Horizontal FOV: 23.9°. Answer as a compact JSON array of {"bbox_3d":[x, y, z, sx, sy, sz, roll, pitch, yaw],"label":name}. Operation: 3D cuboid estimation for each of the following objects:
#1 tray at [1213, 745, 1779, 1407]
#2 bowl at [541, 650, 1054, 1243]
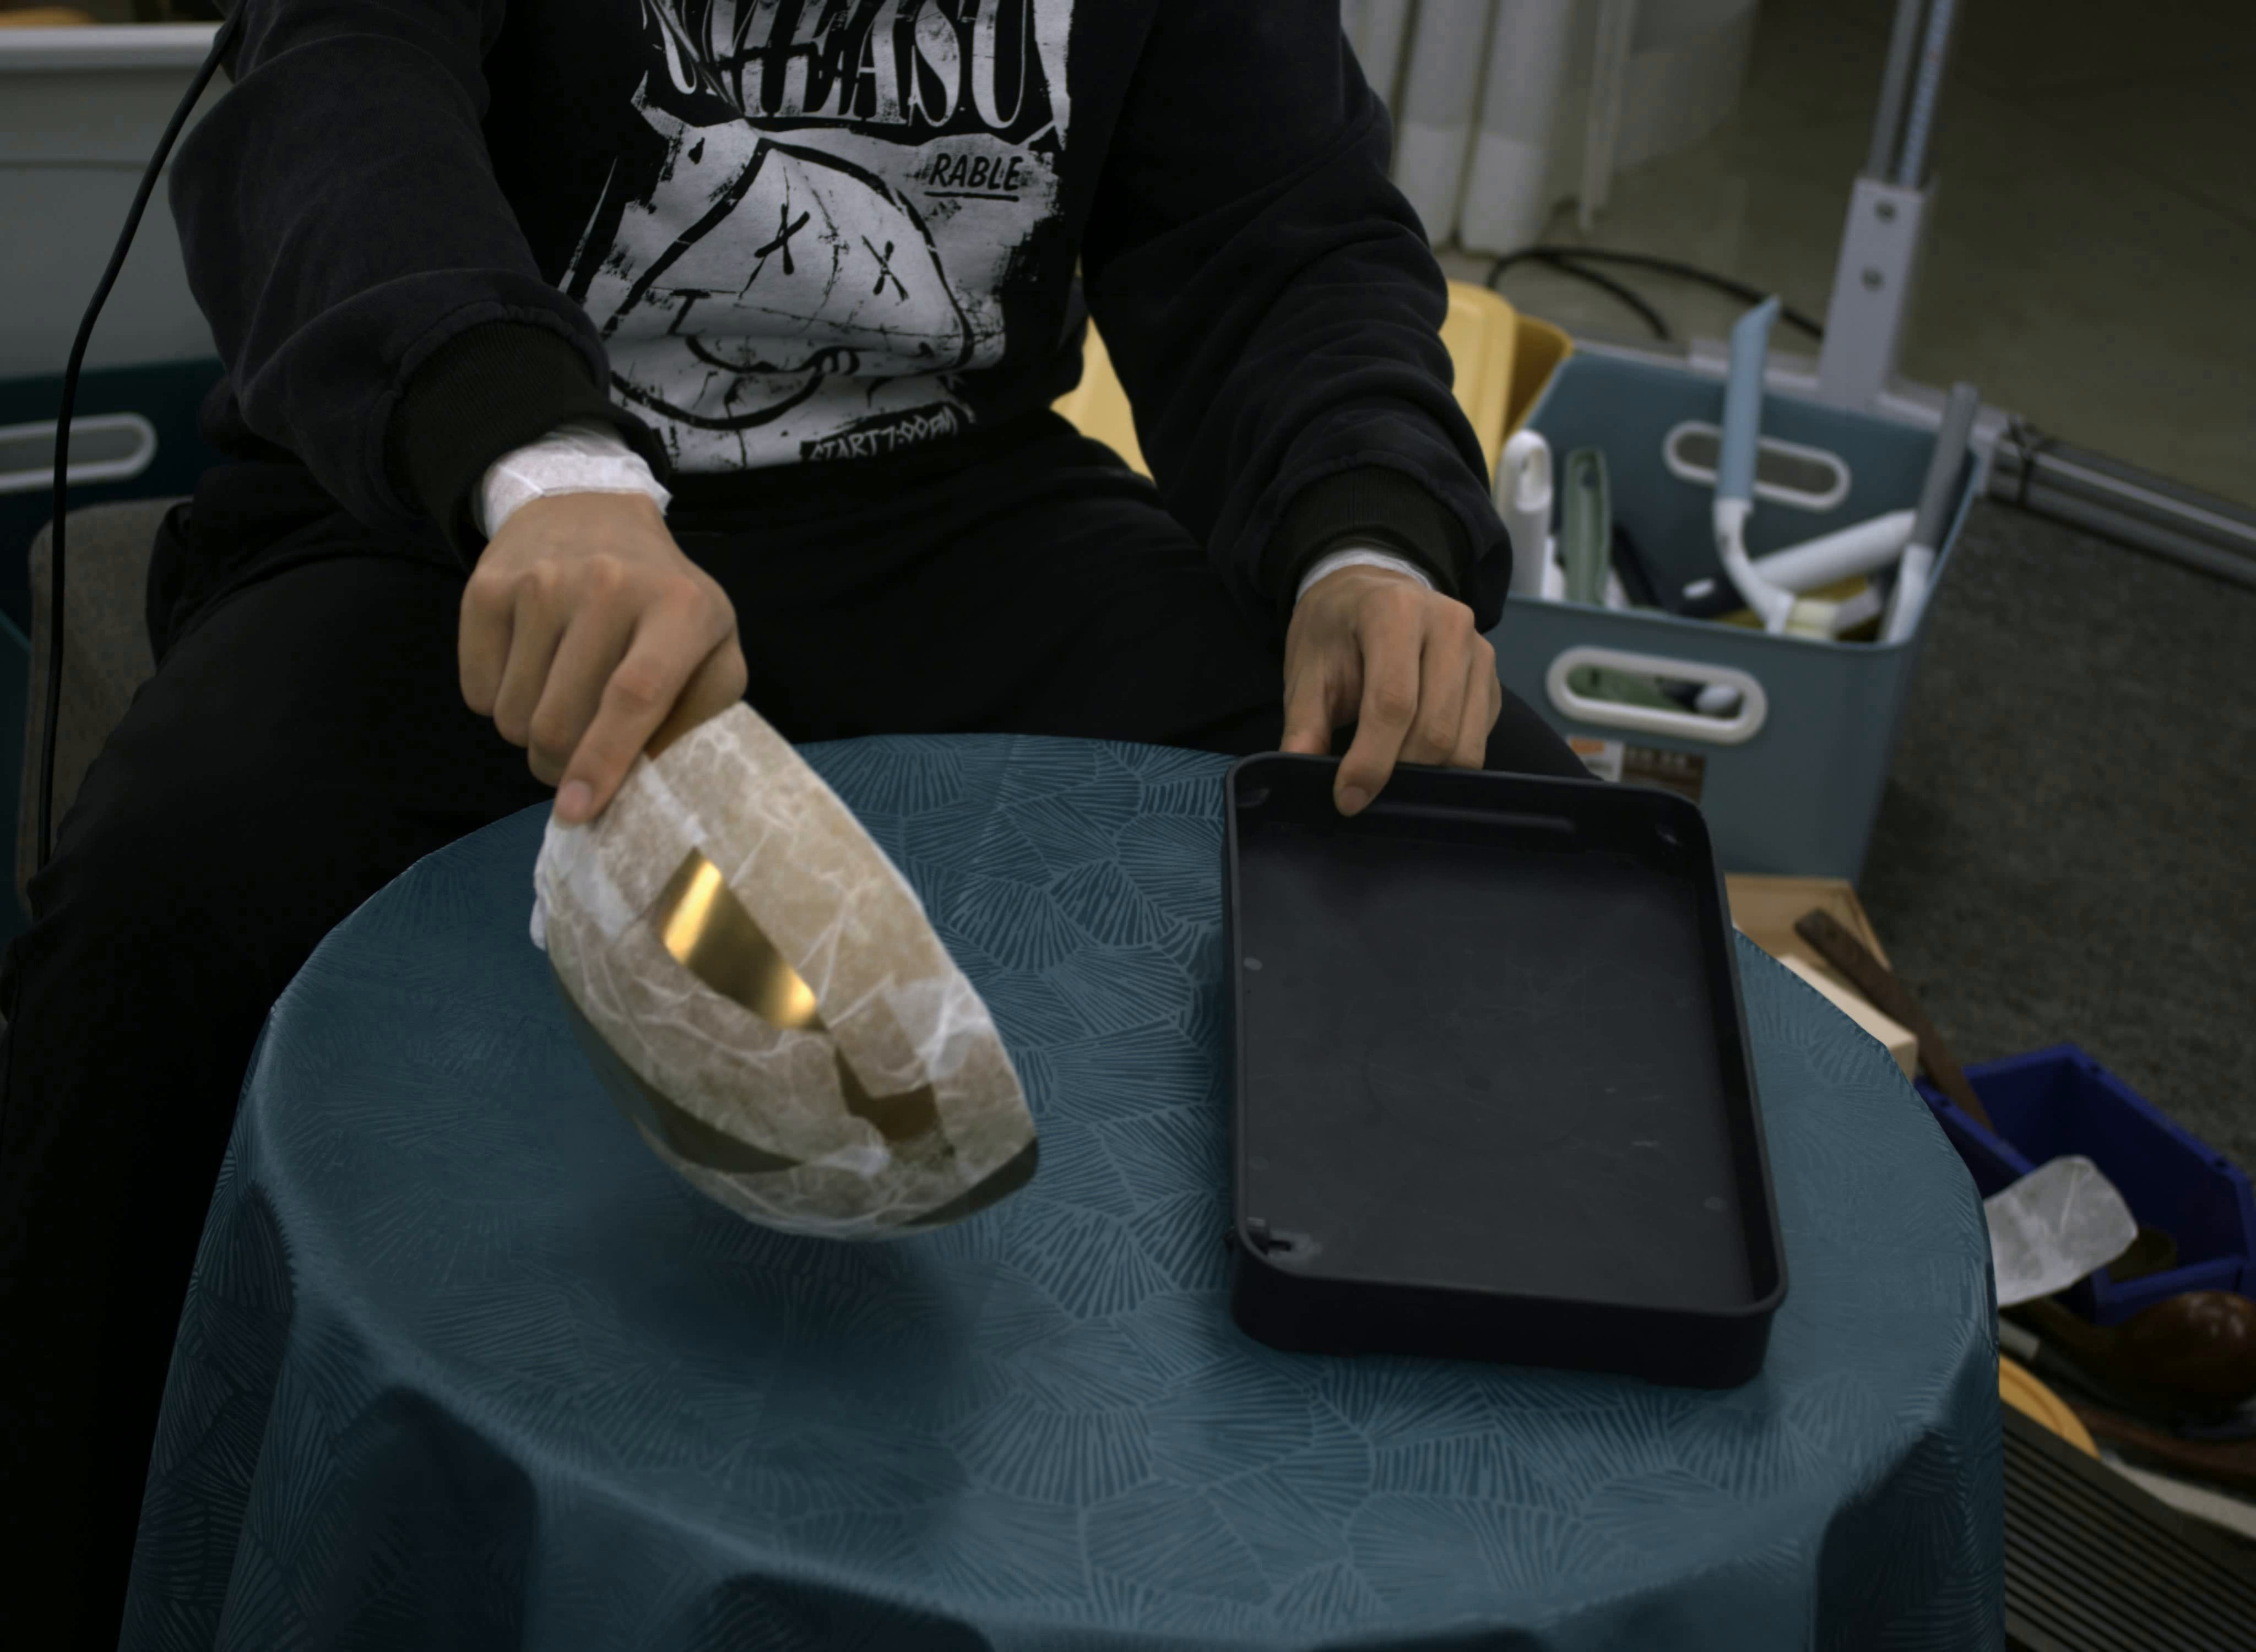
[{"bbox_3d":[0.123,0.080,1.846,0.184,0.037,0.320,7,34,-2],"label":"tray"},{"bbox_3d":[-0.121,0.058,1.680,0.094,0.213,0.216,-36,42,-15],"label":"bowl"}]
